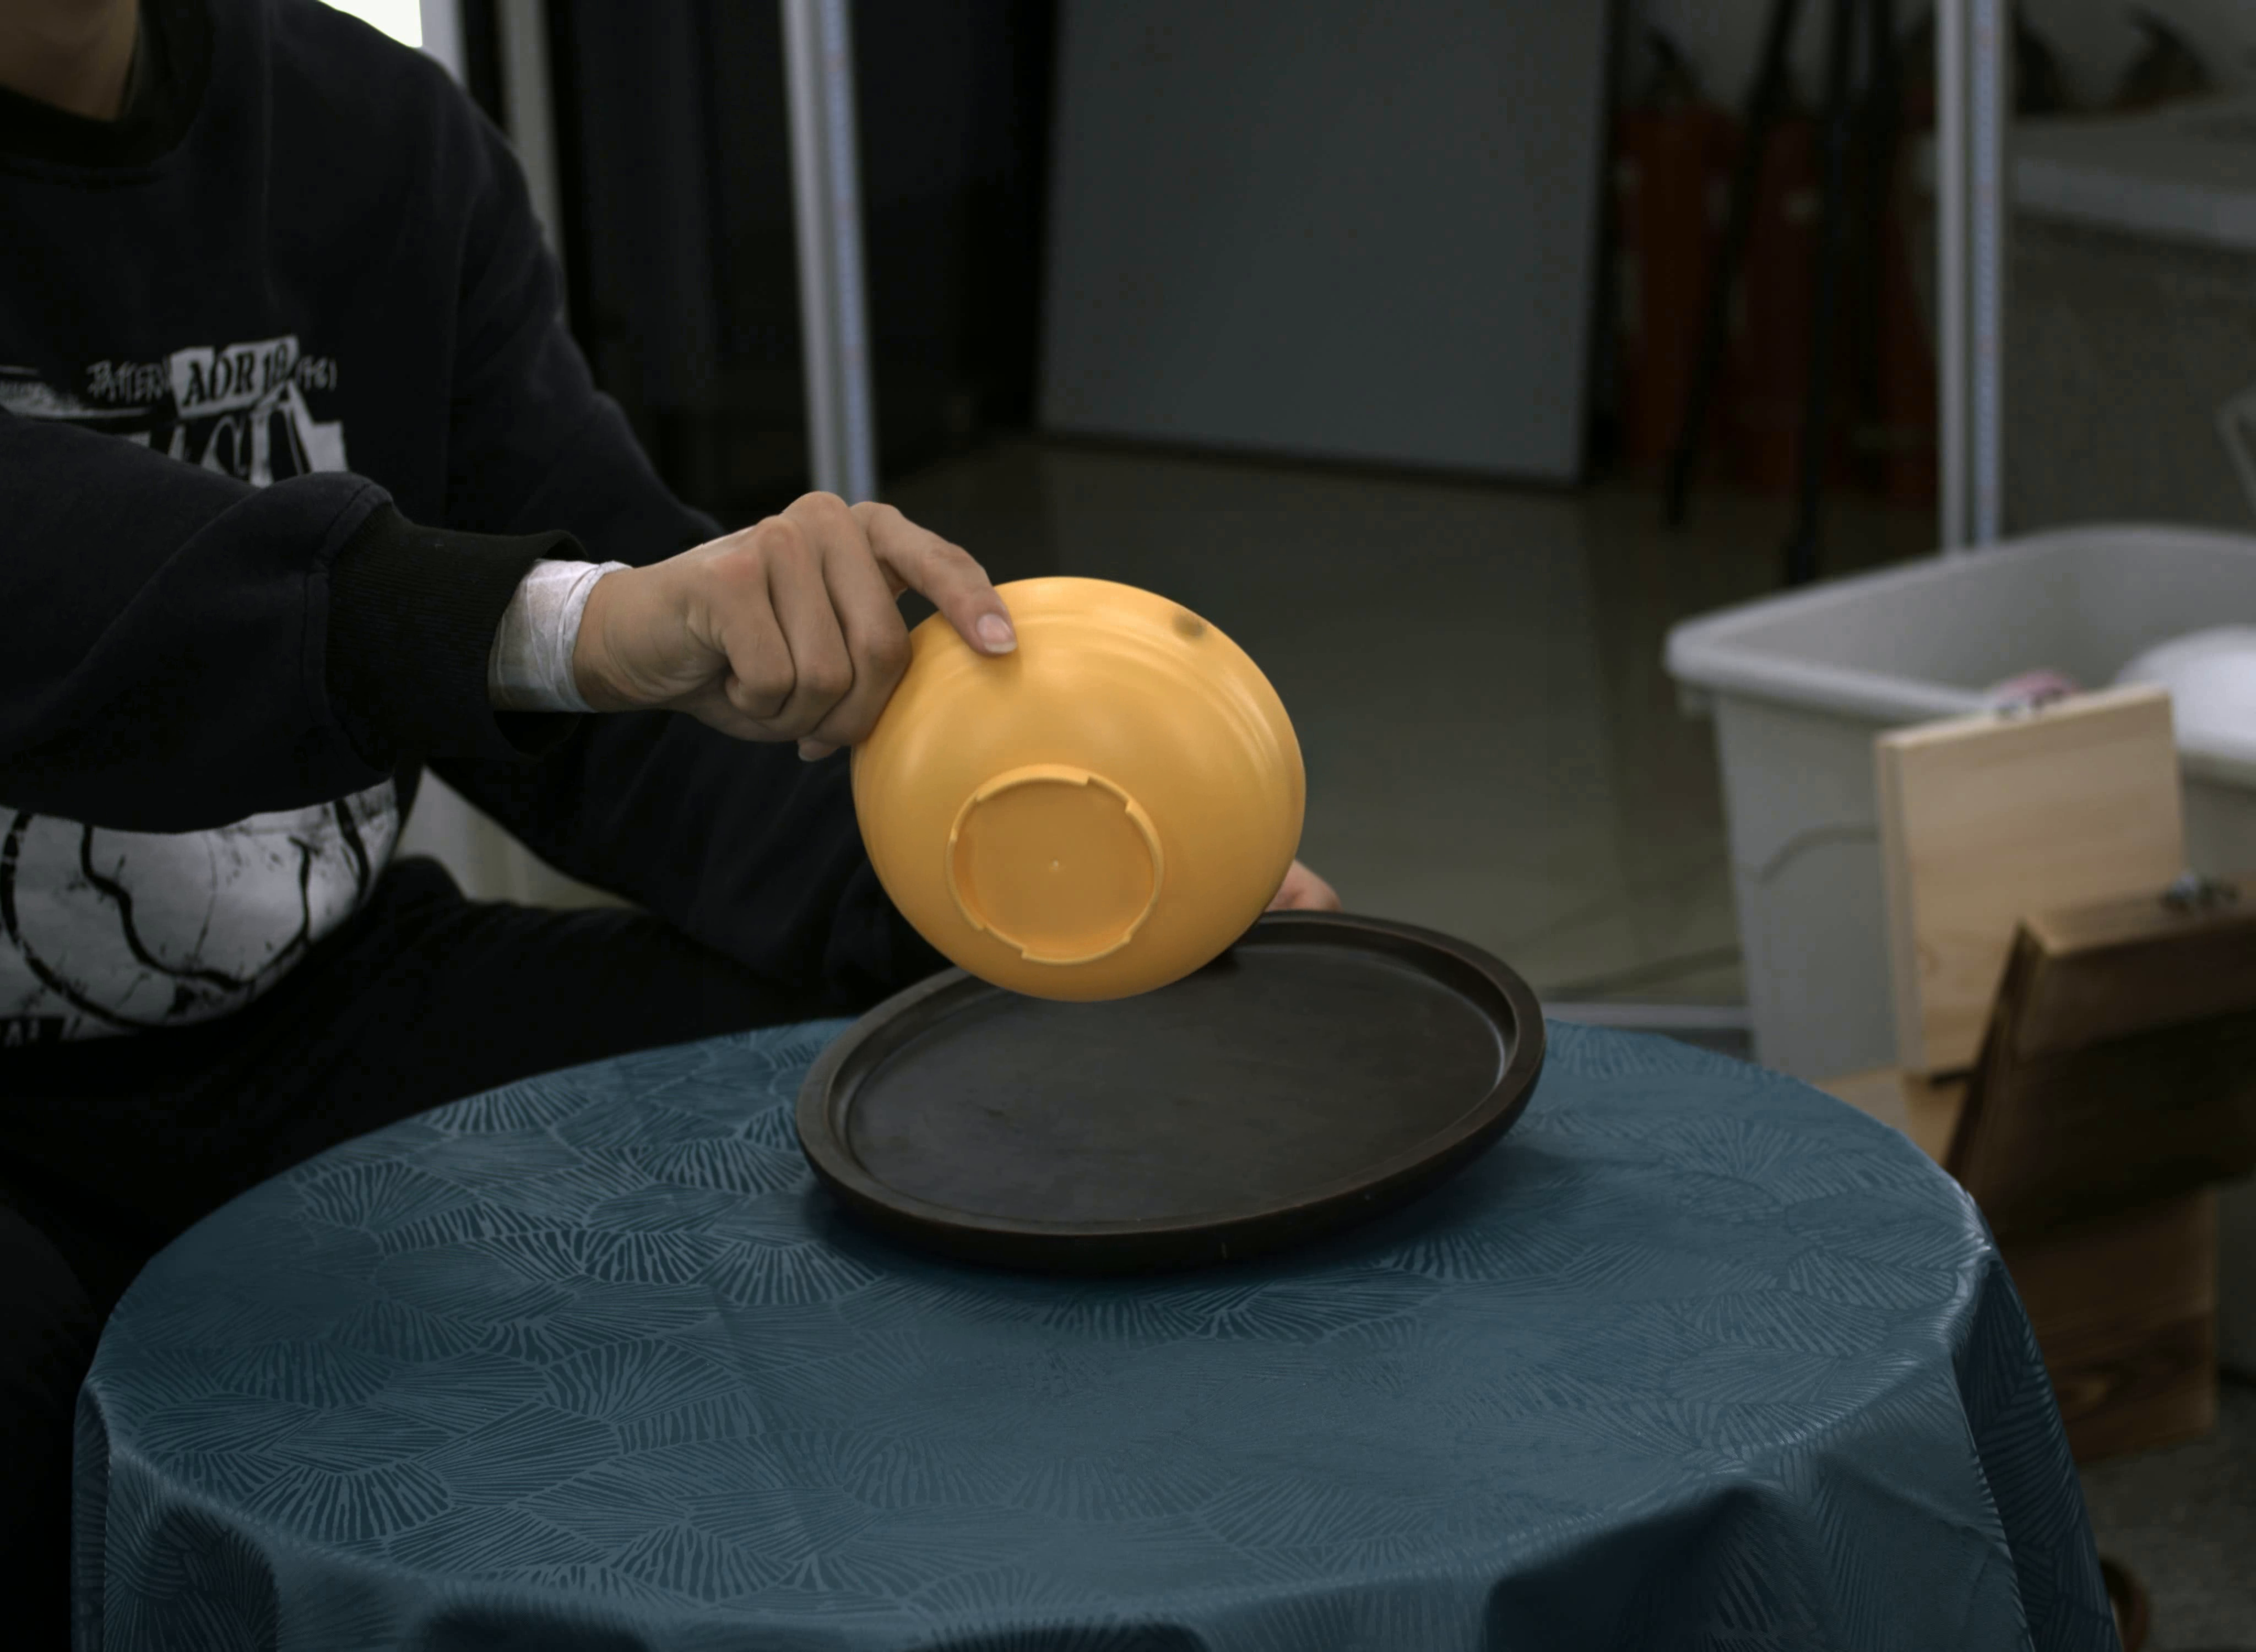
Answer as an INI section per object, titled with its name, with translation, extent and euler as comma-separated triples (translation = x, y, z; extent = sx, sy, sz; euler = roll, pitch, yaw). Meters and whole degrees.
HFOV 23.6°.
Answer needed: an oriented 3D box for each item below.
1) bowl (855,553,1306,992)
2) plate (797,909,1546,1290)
[bowl]
translation = -0.019, -0.005, 1.651
extent = 0.144, 0.146, 0.060
euler = 0, 26, 12
[plate]
translation = 0.015, 0.088, 1.786
extent = 0.252, 0.029, 0.255
euler = -9, 22, 3
